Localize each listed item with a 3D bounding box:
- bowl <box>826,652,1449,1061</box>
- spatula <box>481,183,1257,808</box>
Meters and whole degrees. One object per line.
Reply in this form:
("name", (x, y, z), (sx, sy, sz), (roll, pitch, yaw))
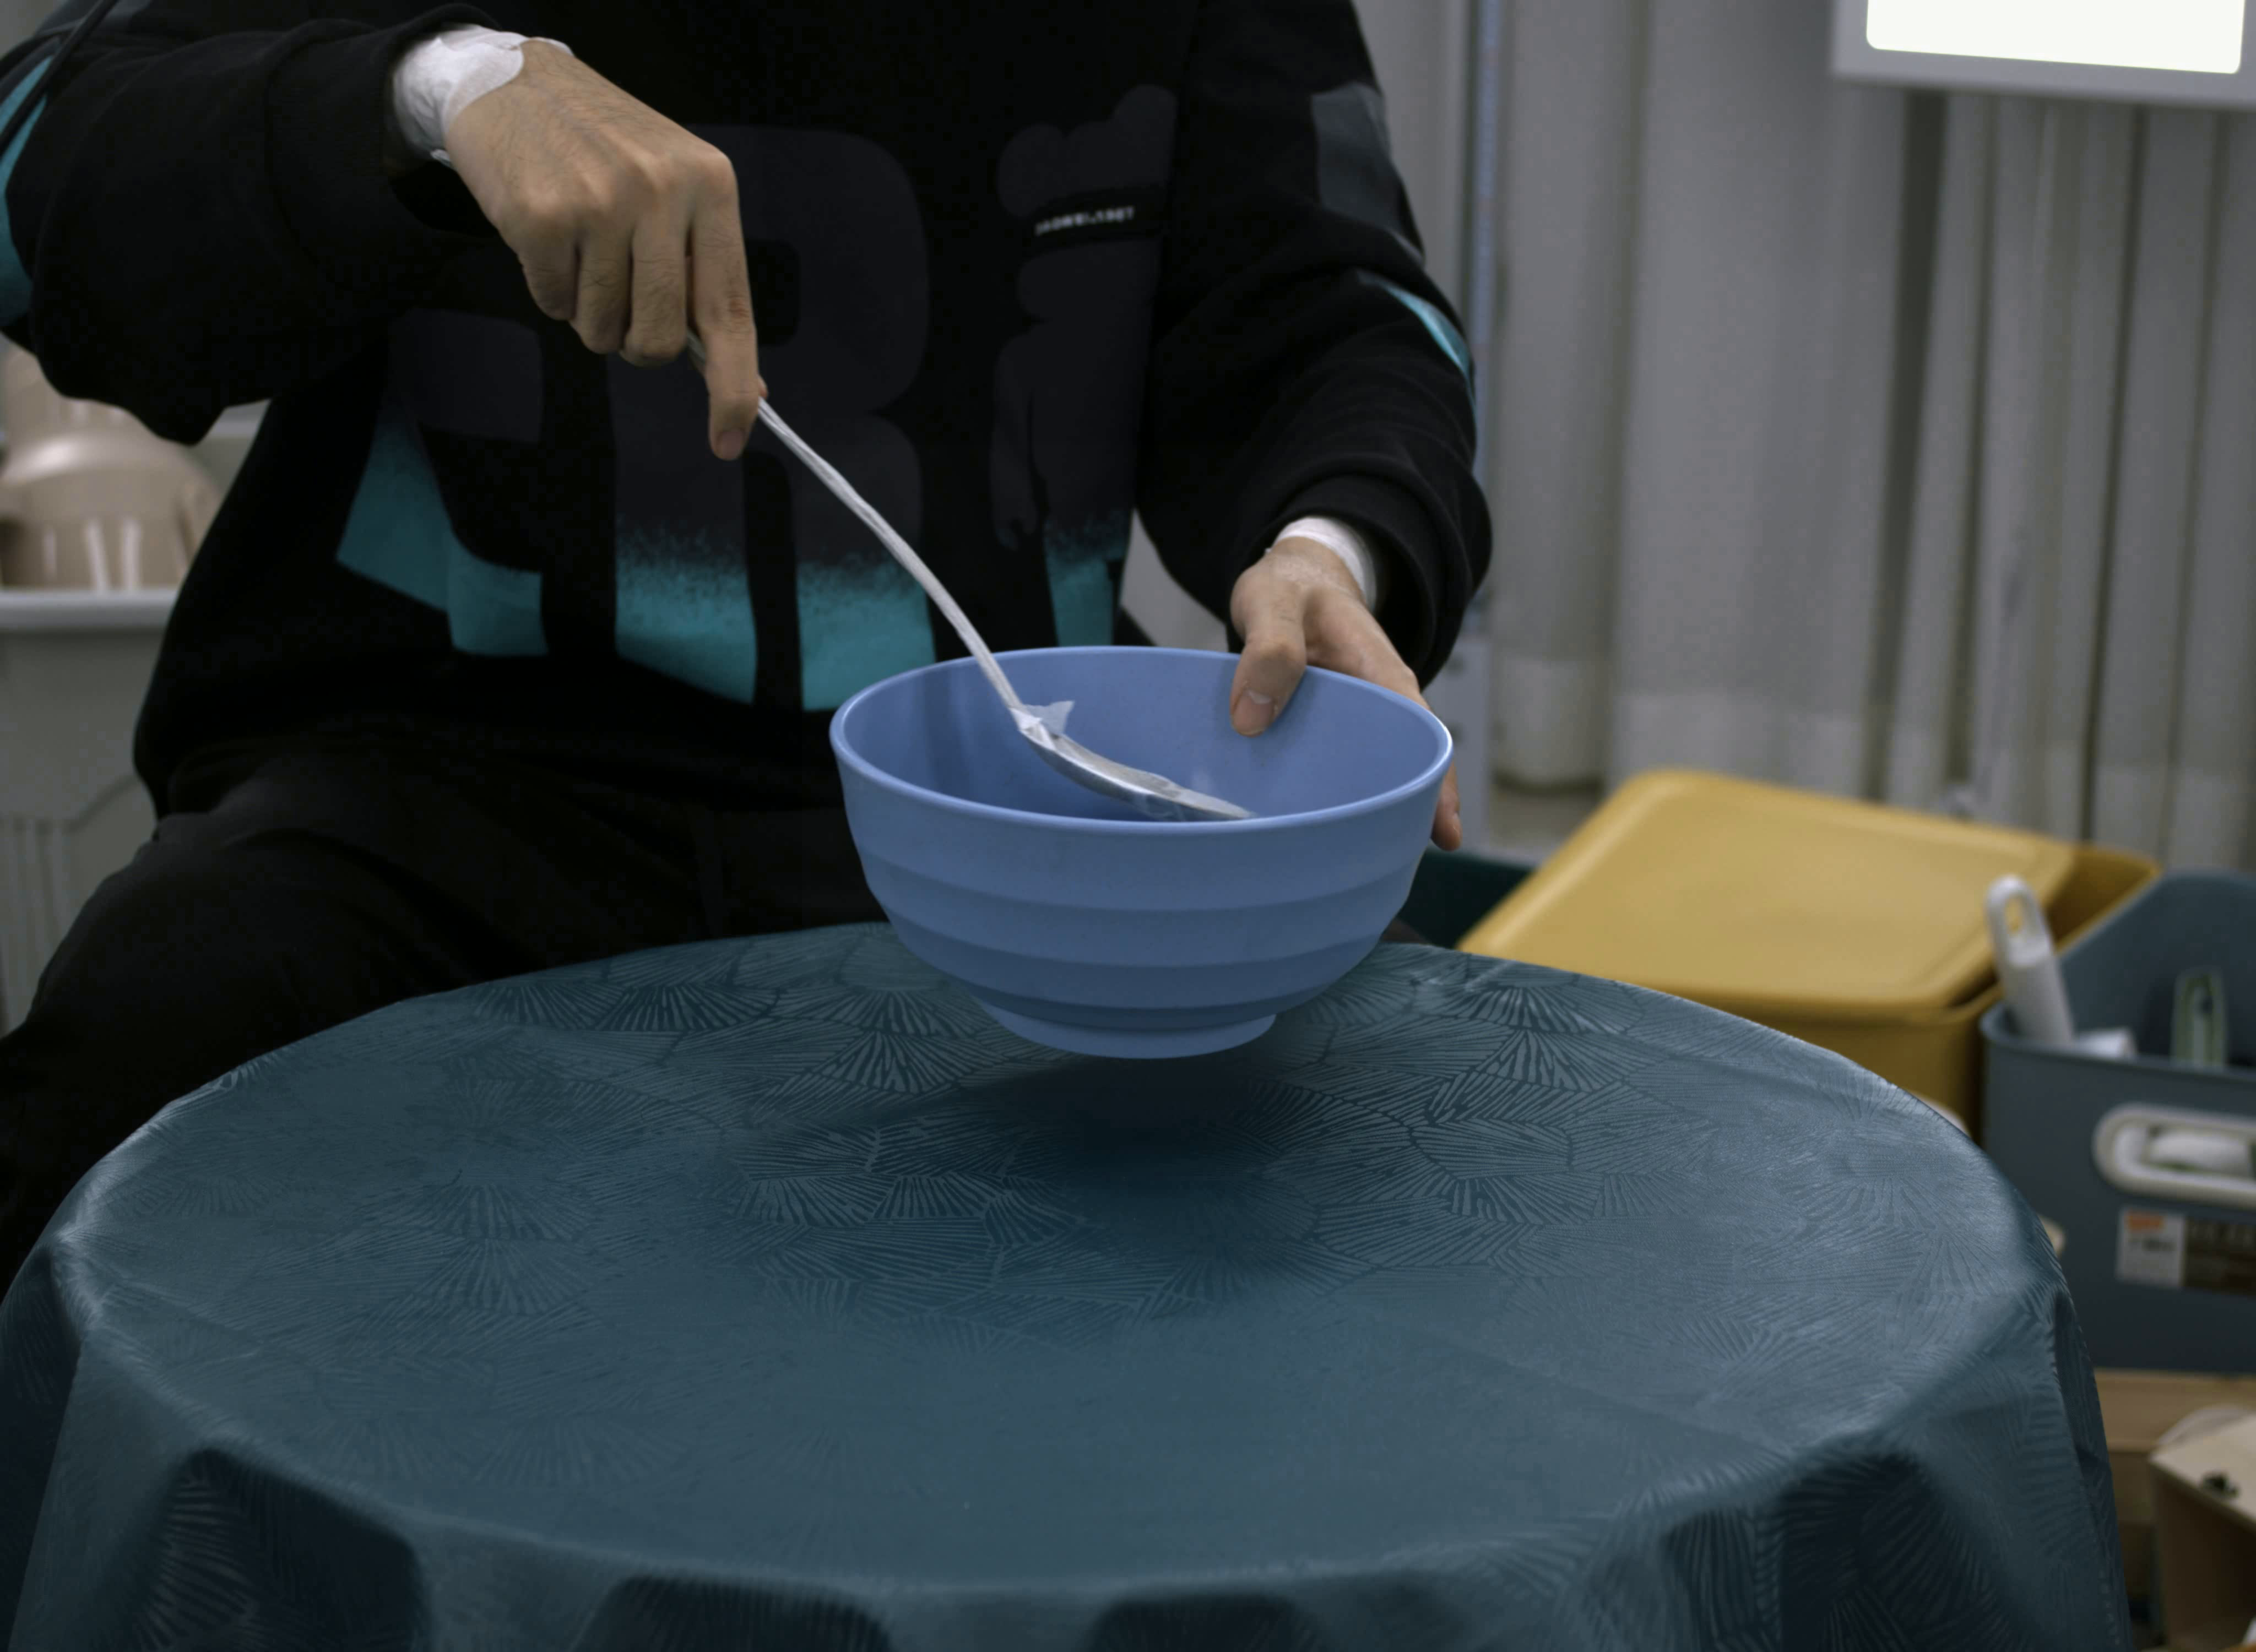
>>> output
("bowl", (0.003, 0.015, 1.670), (0.196, 0.096, 0.195), (1, 18, 0))
("spatula", (-0.078, -0.103, 1.714), (0.363, 0.045, 0.099), (45, 10, 9))
